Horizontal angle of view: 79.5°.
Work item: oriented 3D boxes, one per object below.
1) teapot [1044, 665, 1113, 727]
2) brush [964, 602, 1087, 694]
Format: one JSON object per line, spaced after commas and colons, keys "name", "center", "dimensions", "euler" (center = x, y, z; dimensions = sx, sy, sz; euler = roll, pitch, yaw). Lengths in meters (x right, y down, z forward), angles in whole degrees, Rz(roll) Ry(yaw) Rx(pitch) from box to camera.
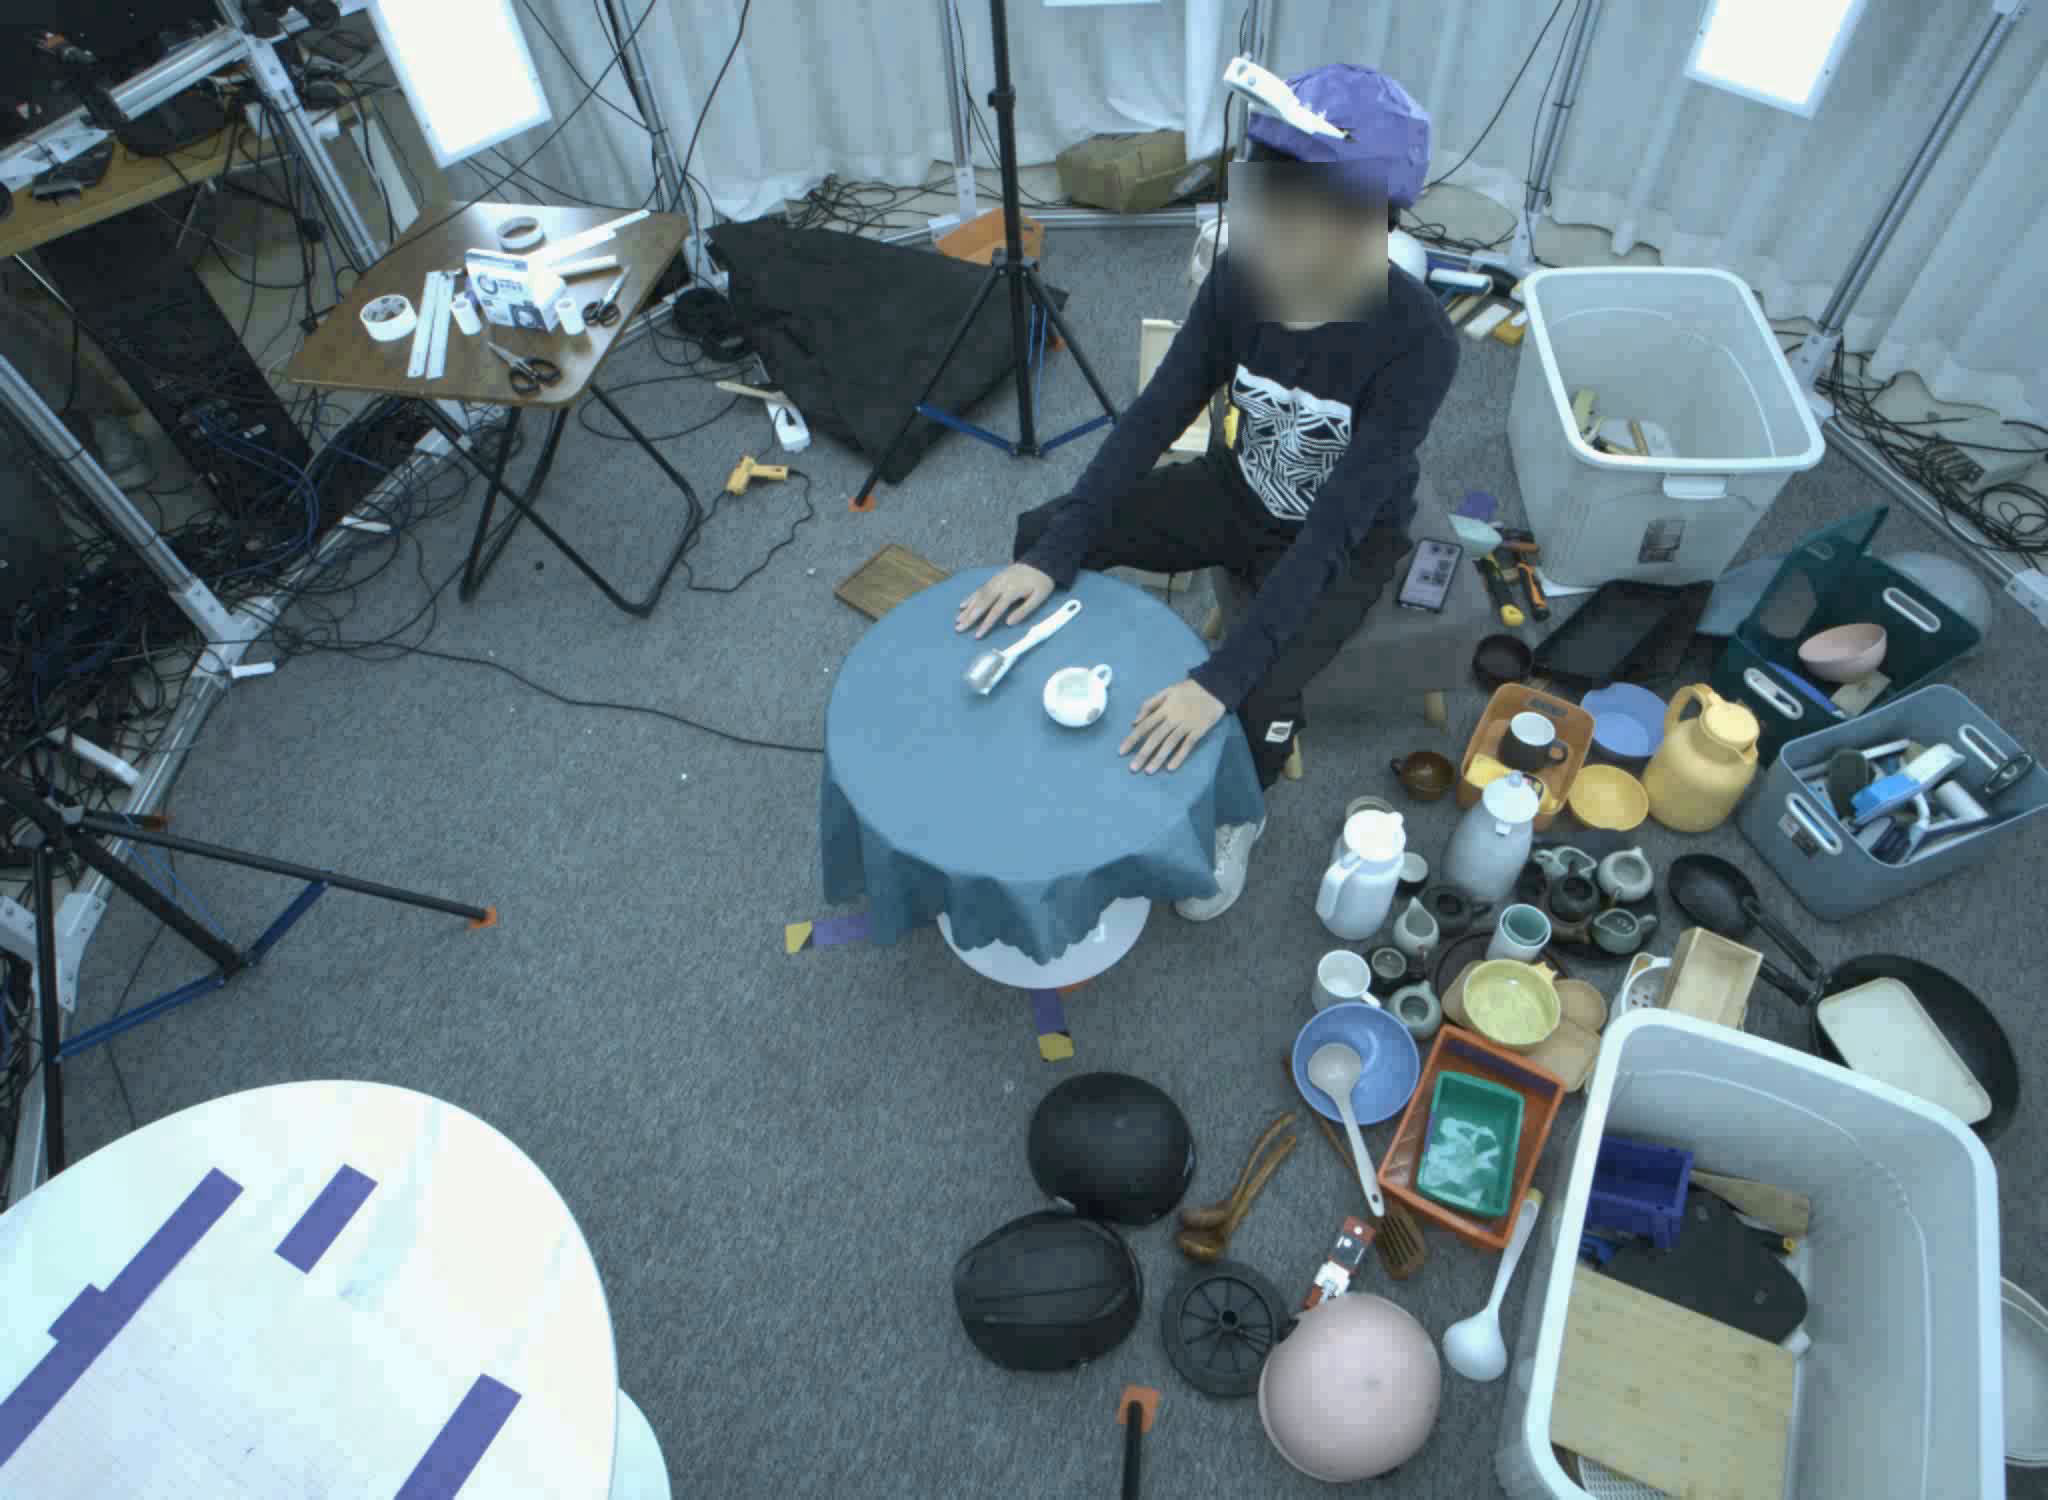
{"name": "teapot", "center": [0.083, -0.083, 1.803], "dimensions": [0.091, 0.057, 0.128], "euler": [34, 61, 29]}
{"name": "brush", "center": [0.005, -0.169, 1.871], "dimensions": [0.245, 0.051, 0.034], "euler": [-39, 57, -23]}
